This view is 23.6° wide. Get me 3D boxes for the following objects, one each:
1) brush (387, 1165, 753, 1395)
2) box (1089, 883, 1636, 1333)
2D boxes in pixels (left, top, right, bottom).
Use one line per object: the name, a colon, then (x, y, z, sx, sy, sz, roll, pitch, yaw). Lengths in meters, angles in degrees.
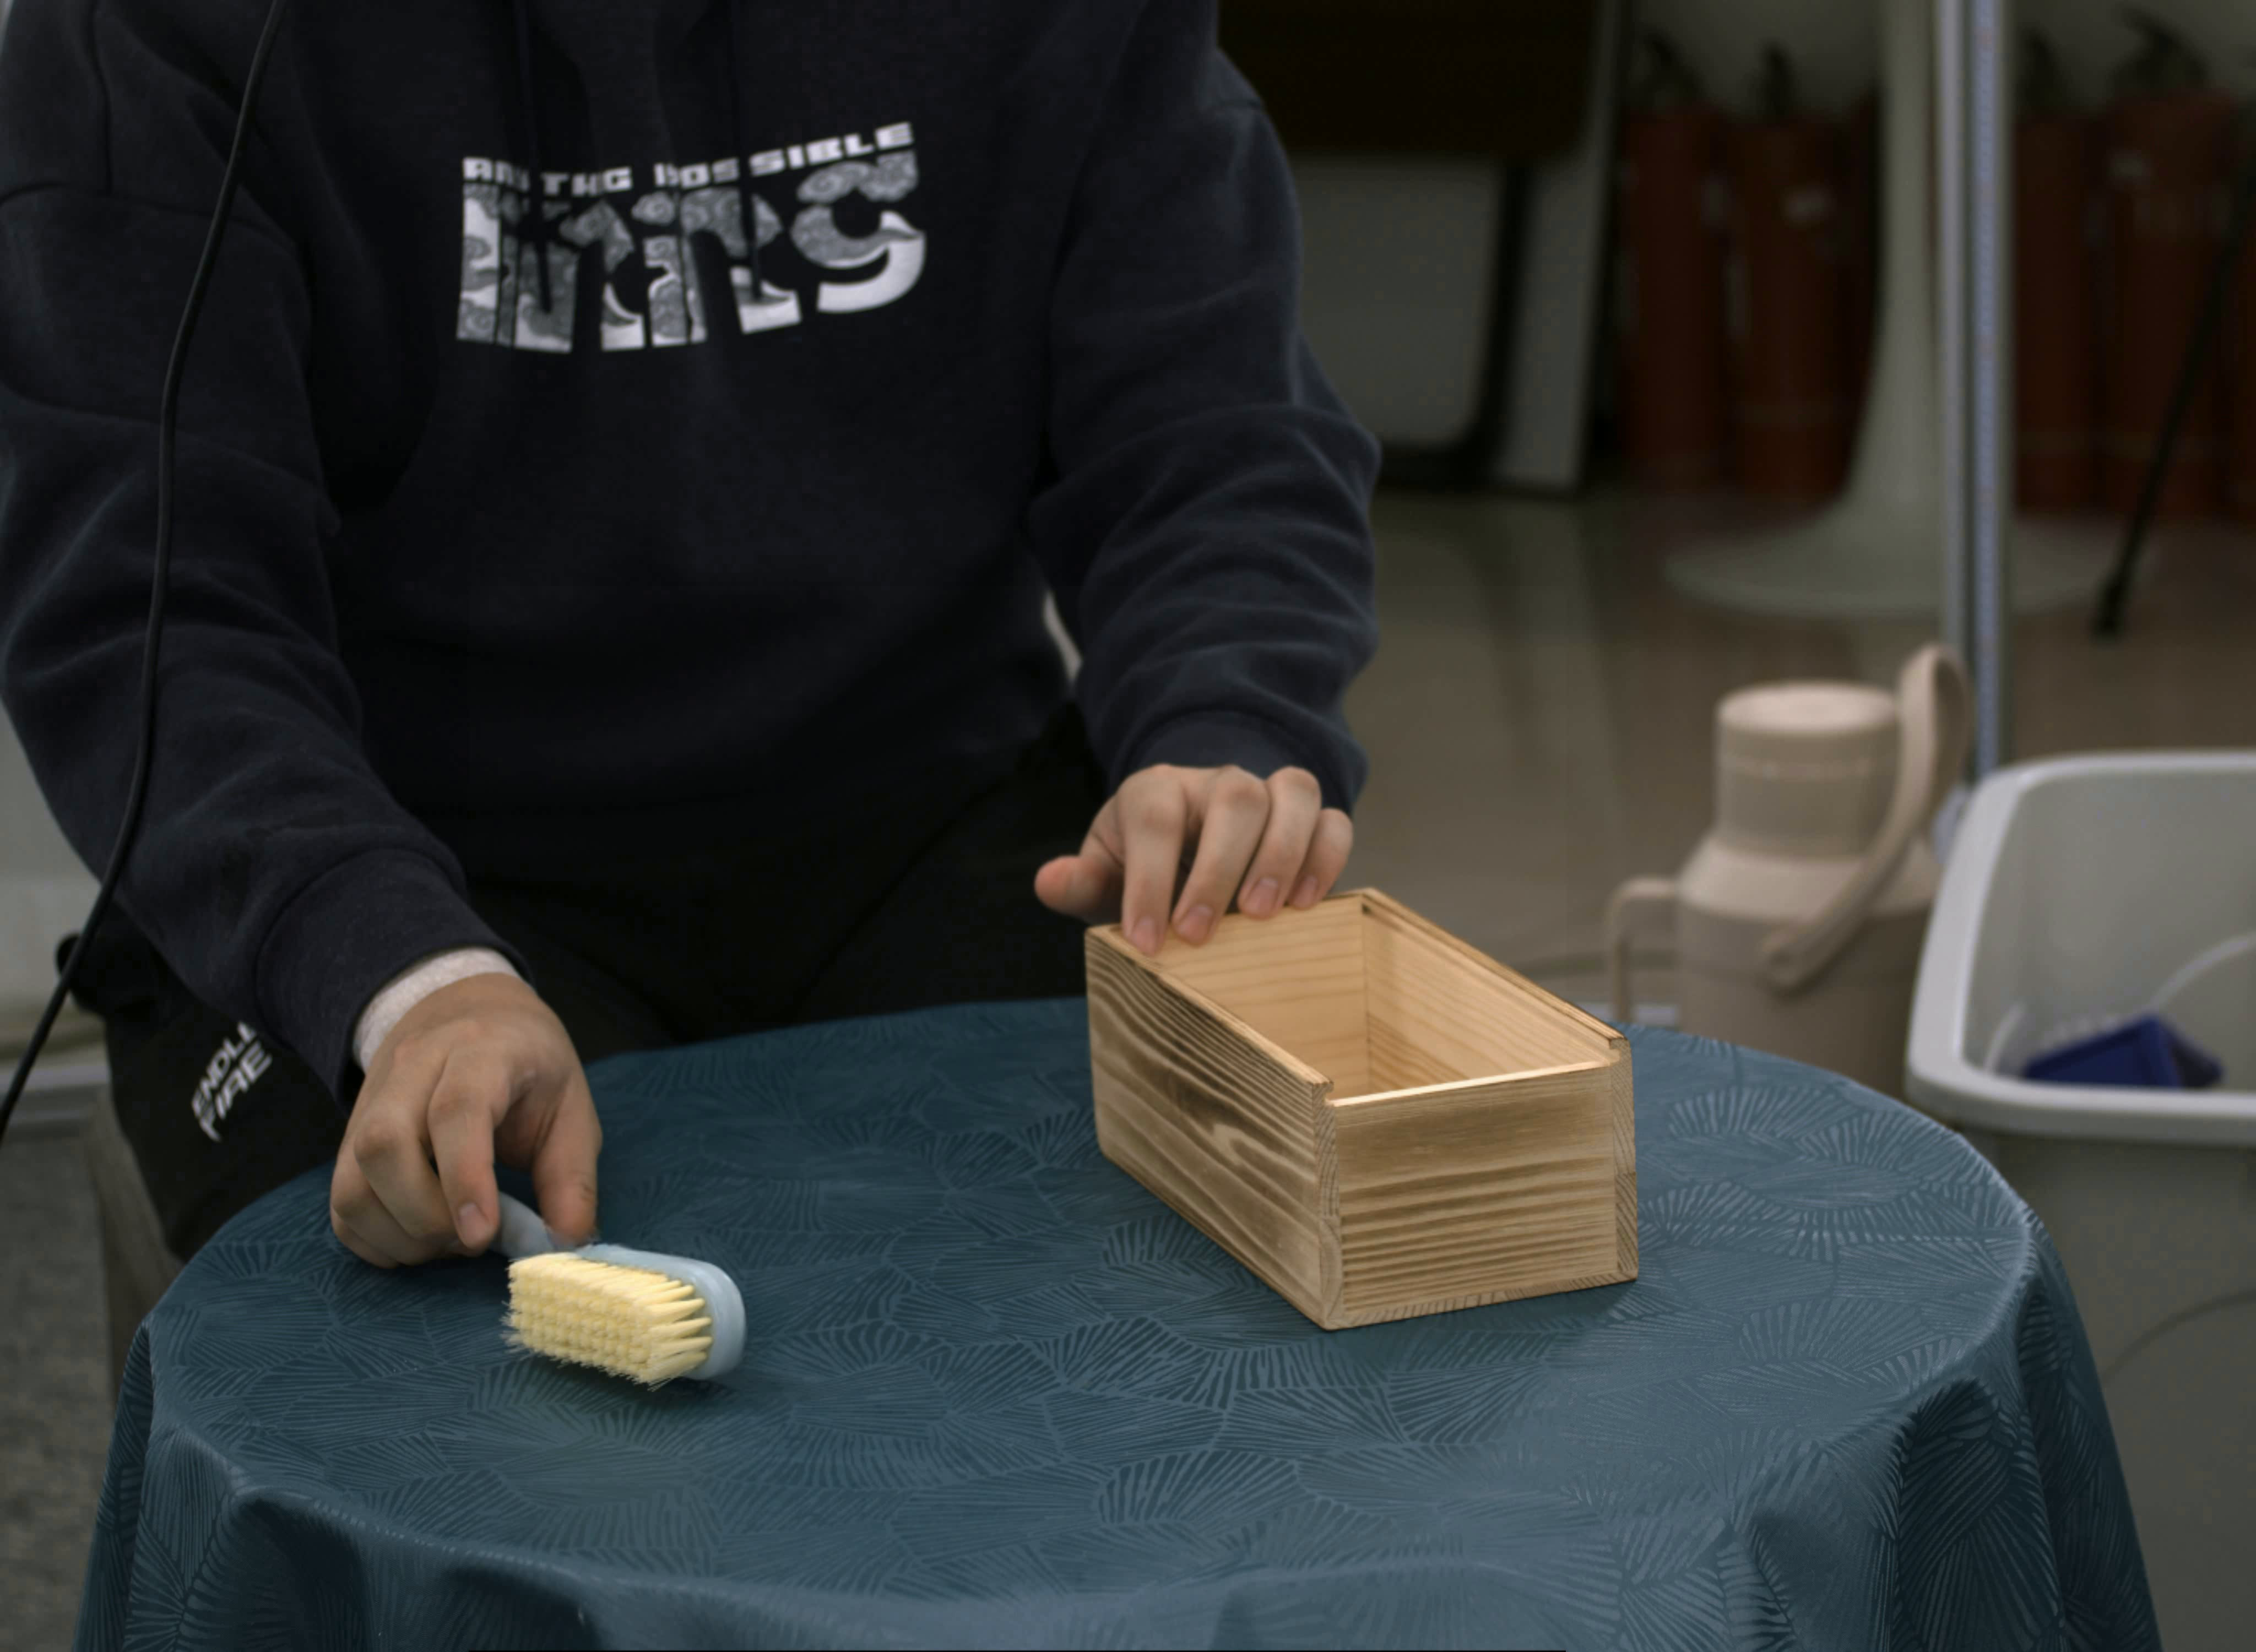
brush: (-0.187, 0.137, 1.685, 0.048, 0.038, 0.231, -13, 16, -28)
box: (0.072, 0.086, 1.727, 0.105, 0.081, 0.213, -8, 15, -18)
